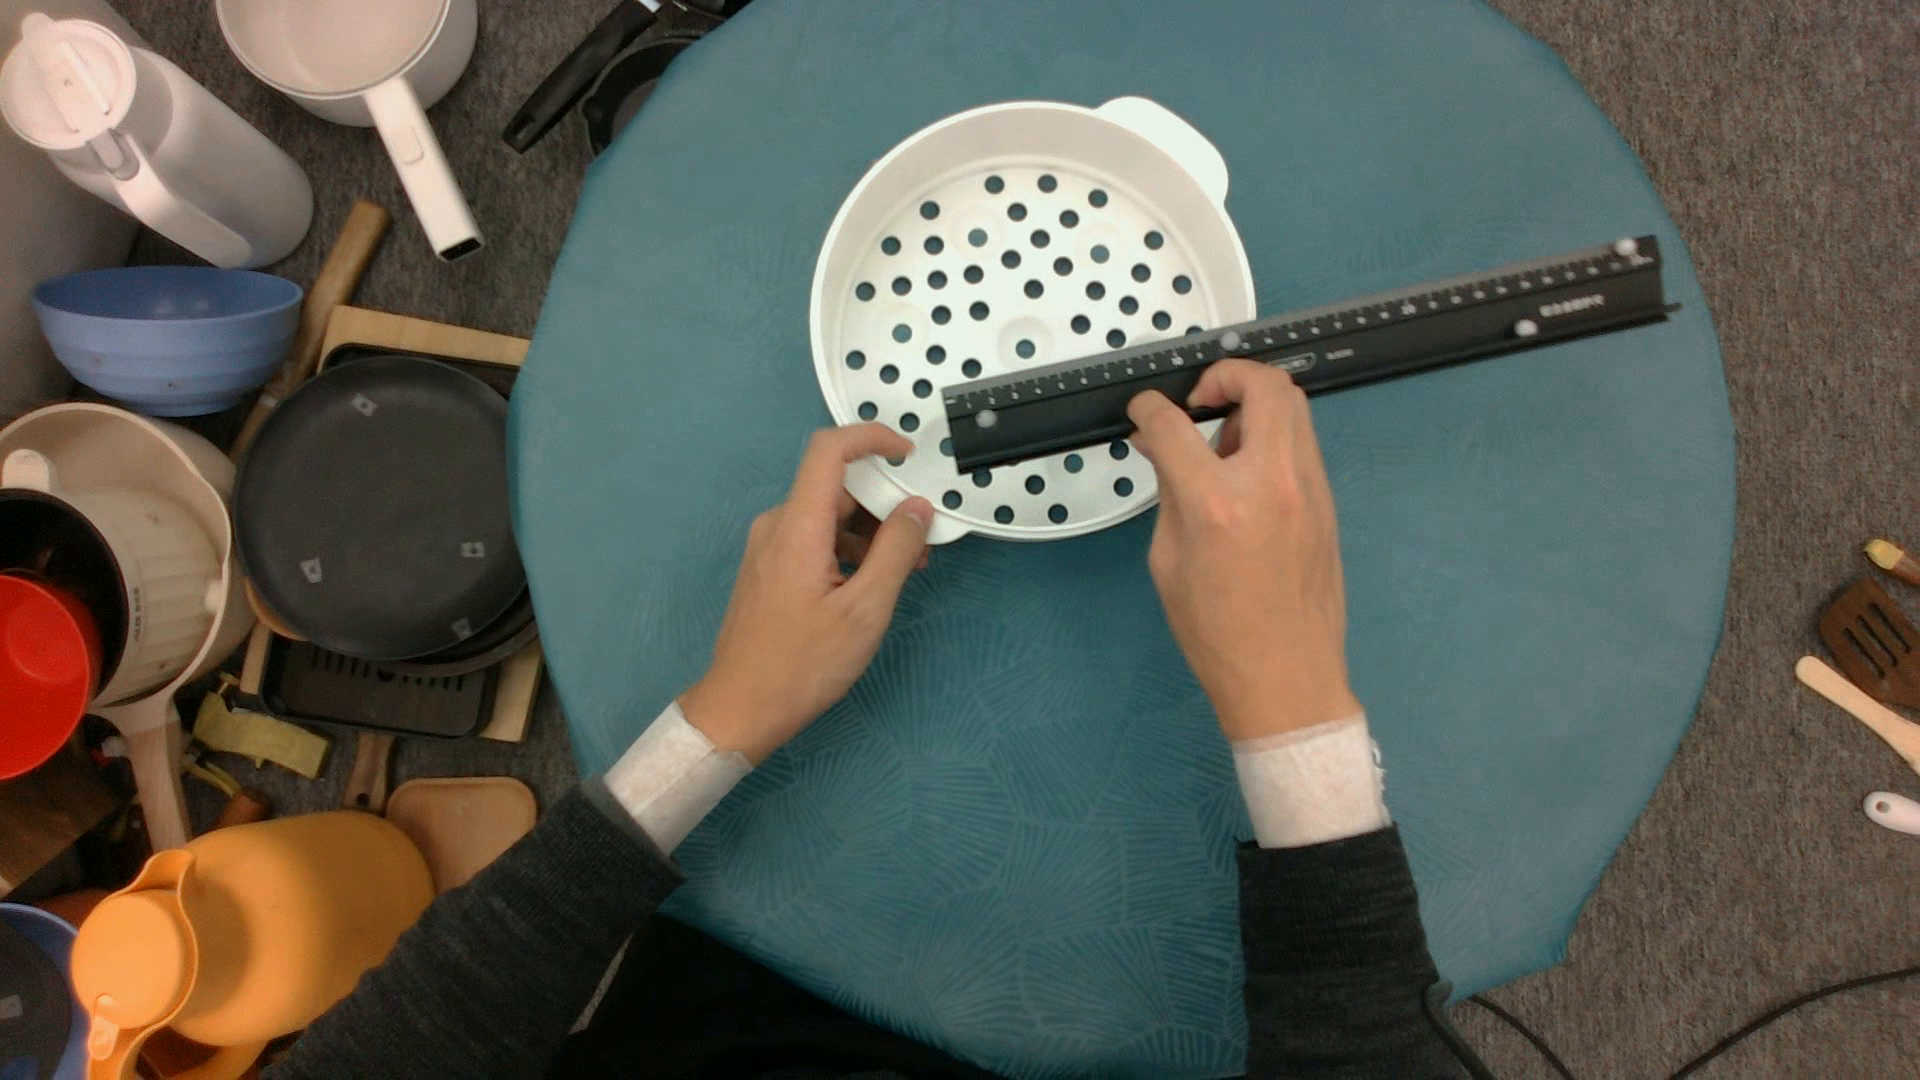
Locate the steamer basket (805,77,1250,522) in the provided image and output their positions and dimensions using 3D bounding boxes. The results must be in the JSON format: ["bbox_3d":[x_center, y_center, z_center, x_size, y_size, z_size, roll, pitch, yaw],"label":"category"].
[{"bbox_3d":[0.030,-0.107,0.646,0.202,0.069,0.231,37,82,2],"label":"steamer basket"}]

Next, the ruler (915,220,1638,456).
[{"bbox_3d":[0.137,-0.087,0.585,0.312,0.017,0.039,-13,97,-3],"label":"ruler"}]
